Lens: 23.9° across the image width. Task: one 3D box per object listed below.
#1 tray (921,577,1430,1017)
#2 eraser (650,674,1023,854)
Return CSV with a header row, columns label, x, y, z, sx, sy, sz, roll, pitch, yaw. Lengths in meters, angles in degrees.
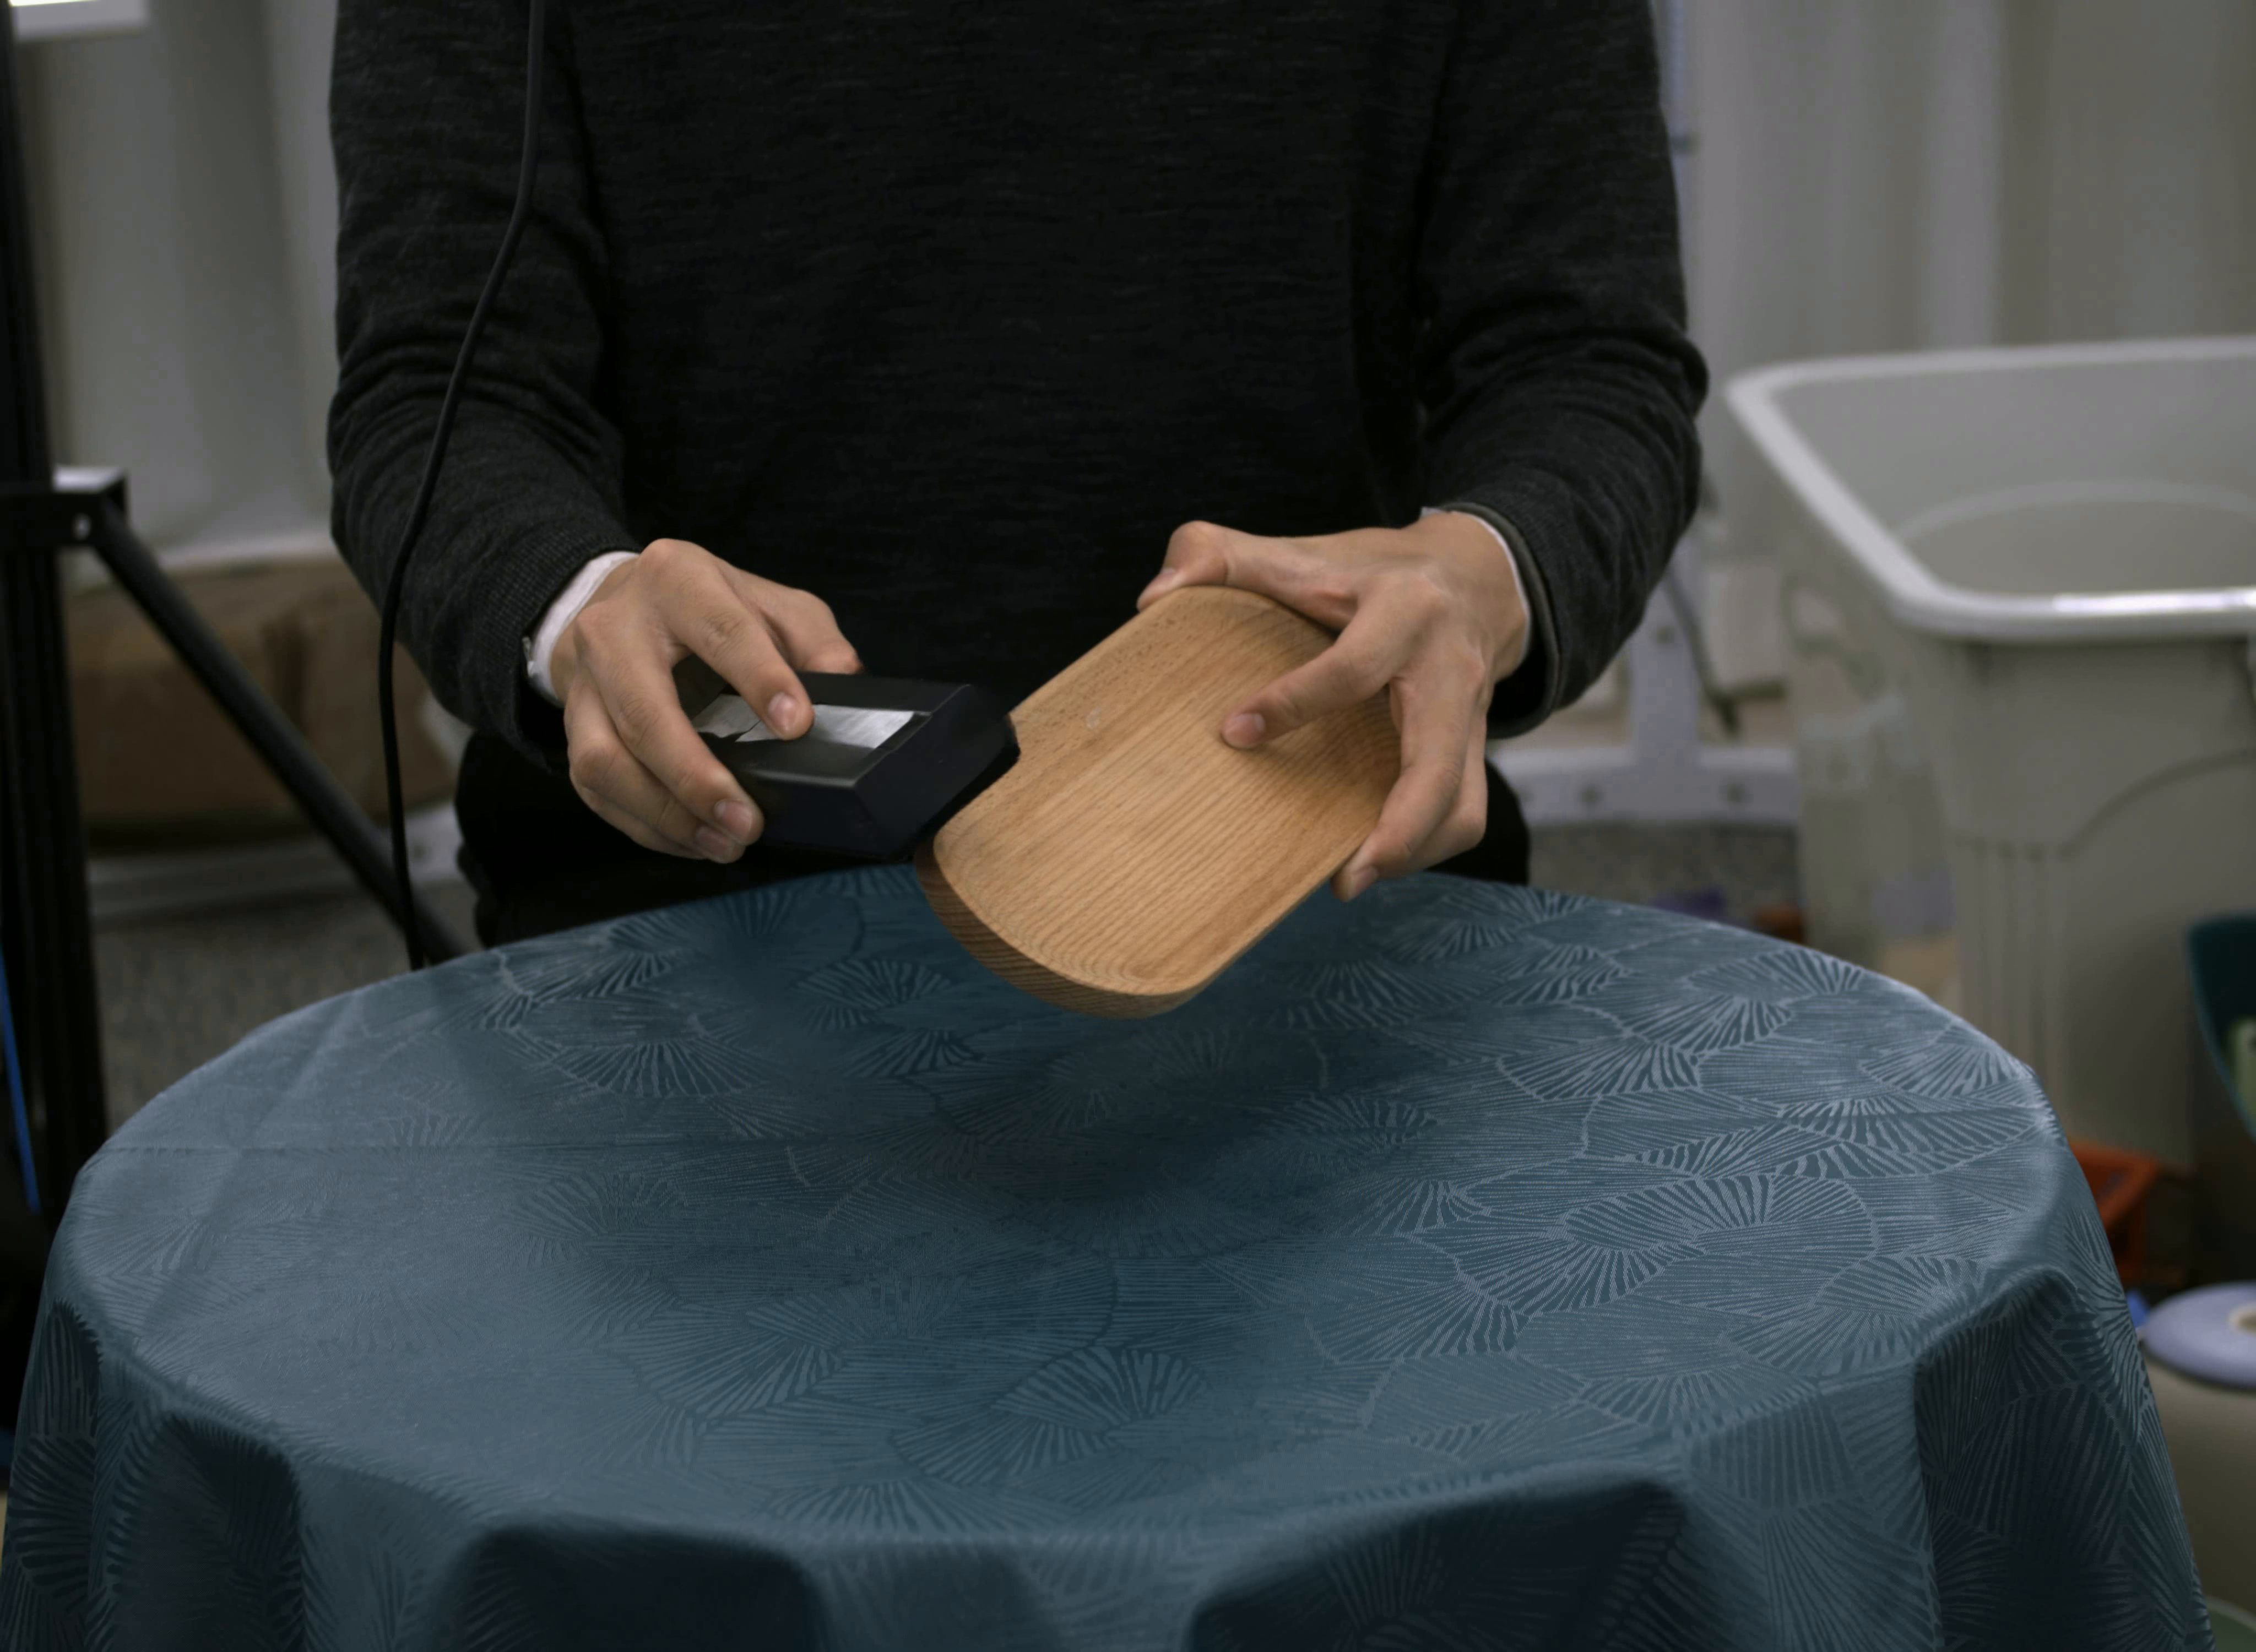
label,x,y,z,sx,sy,sz,roll,pitch,yaw
tray,0.016,-0.010,1.586,0.102,0.020,0.228,39,35,8
eraser,-0.085,-0.019,1.542,0.053,0.030,0.128,-40,23,-26
